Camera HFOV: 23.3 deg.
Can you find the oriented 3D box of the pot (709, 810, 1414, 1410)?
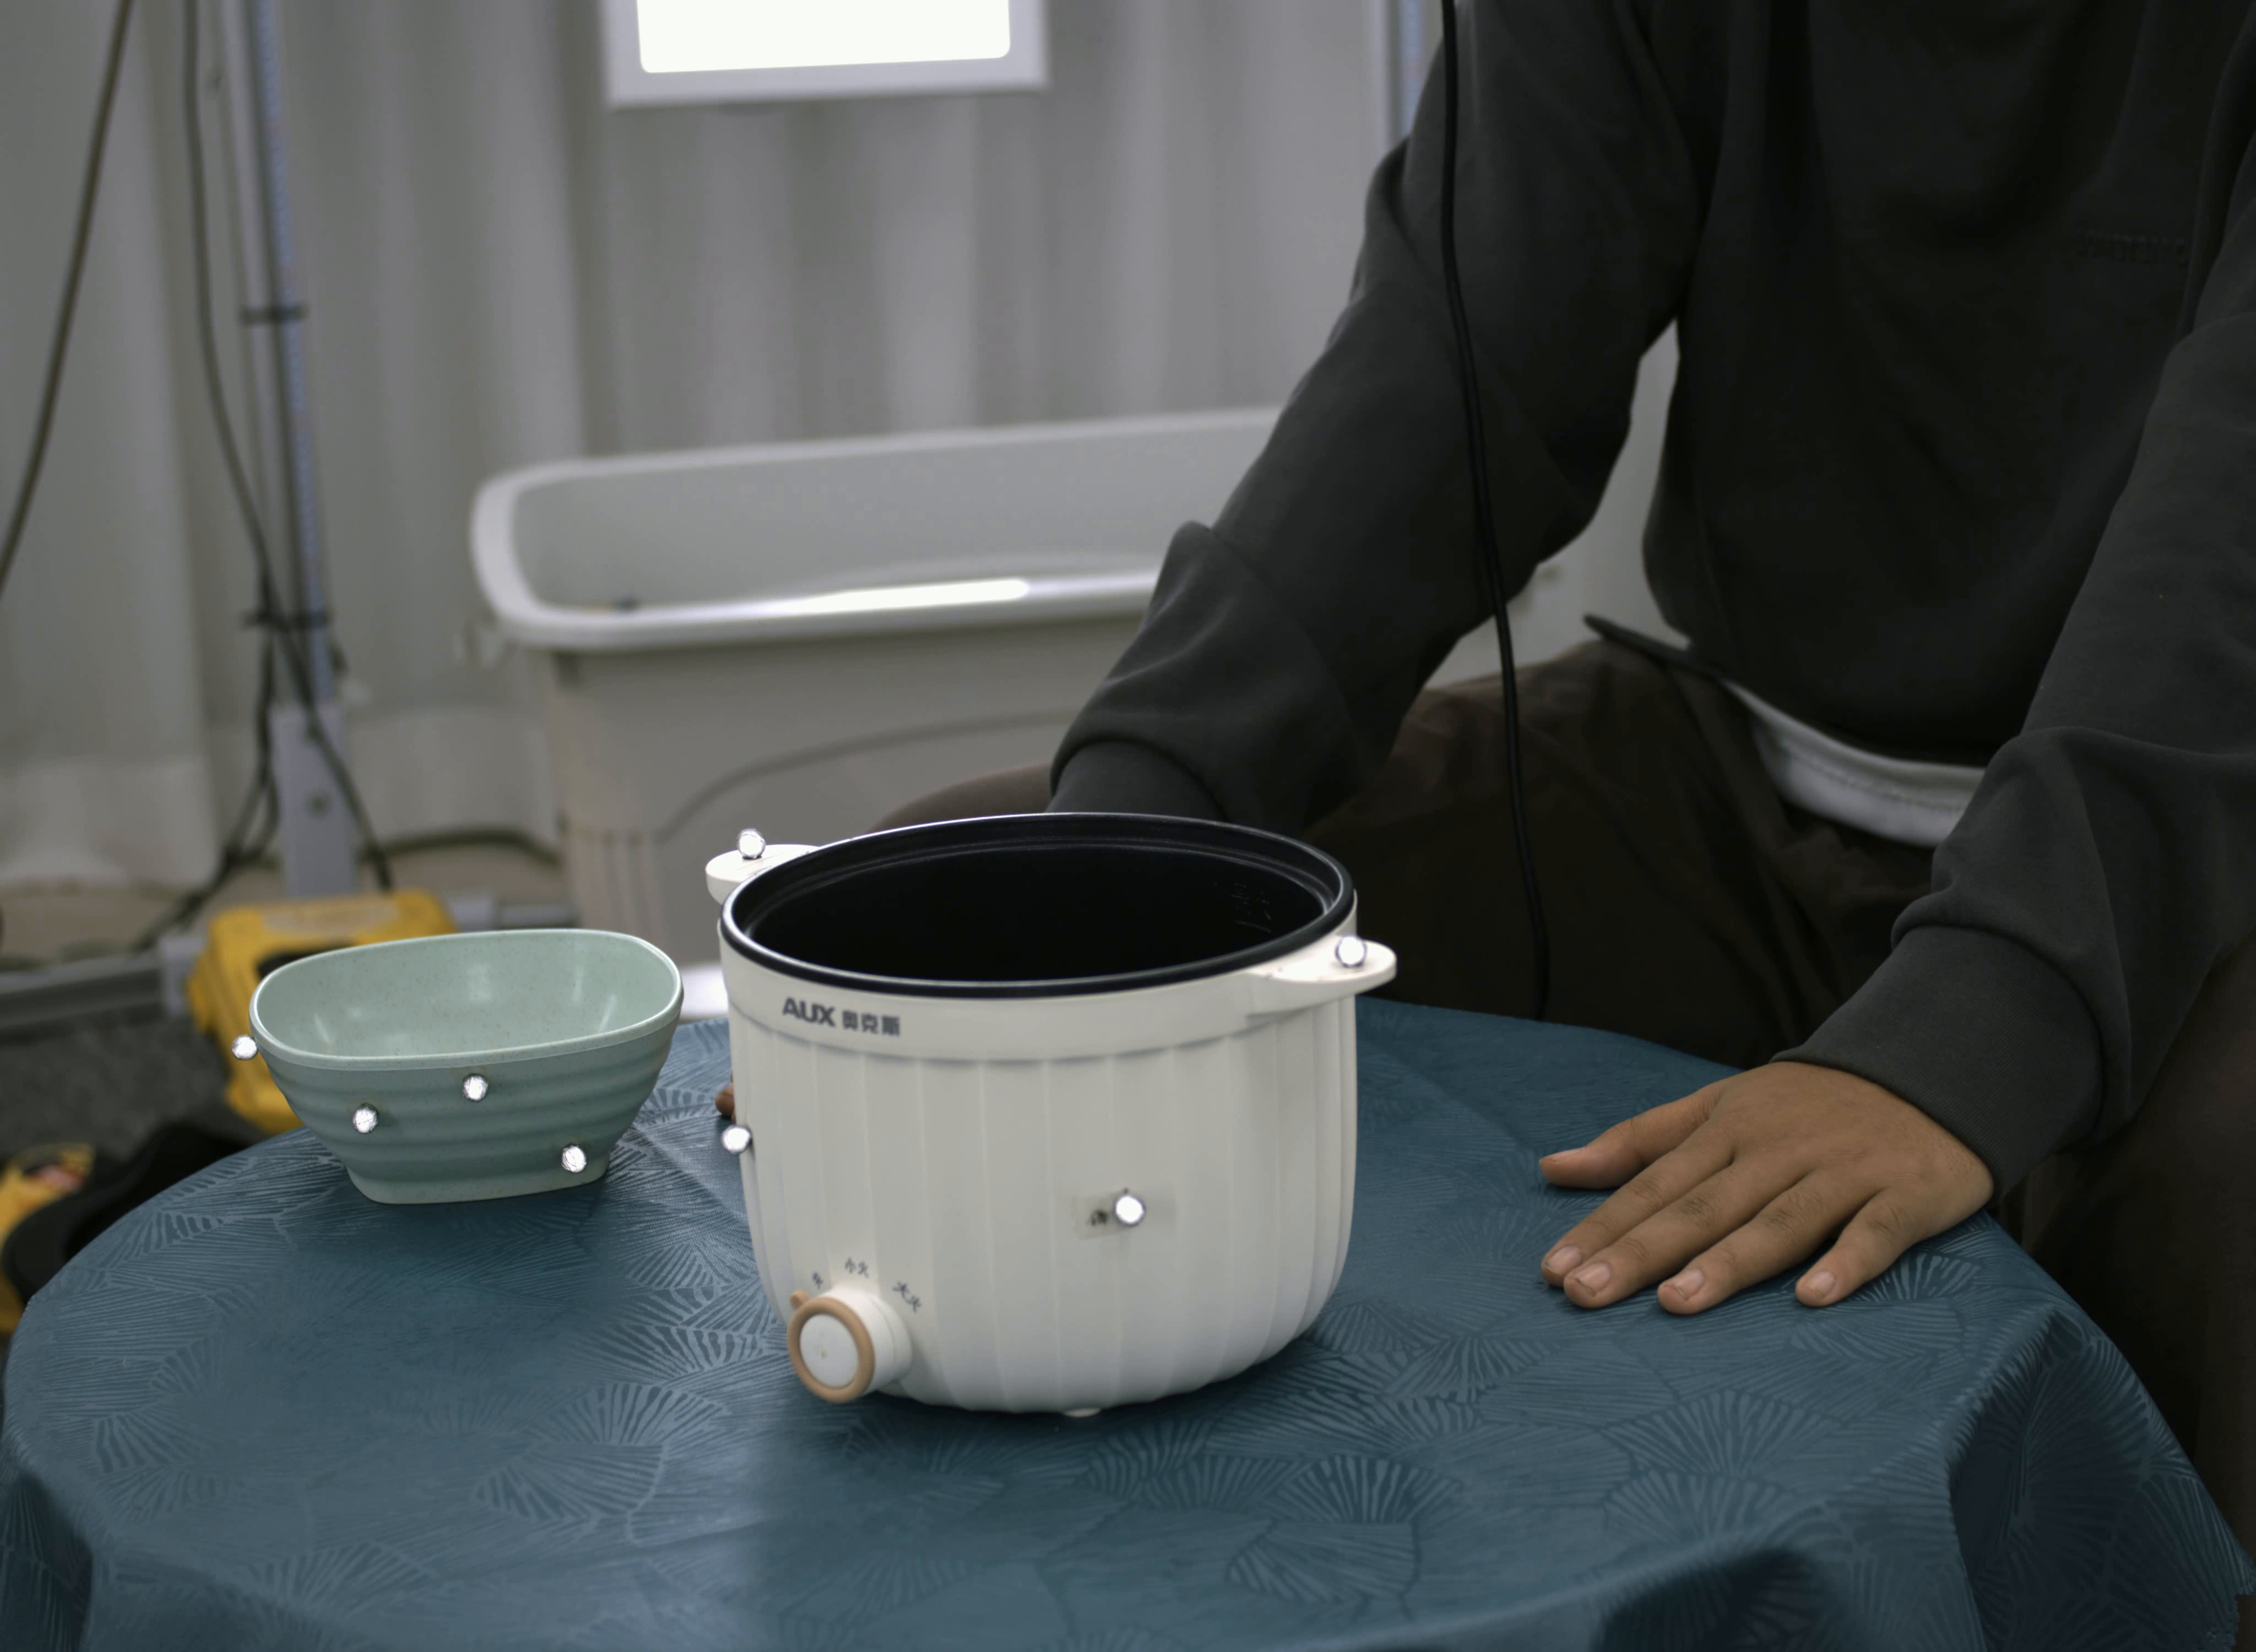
[{"bbox_3d":[-0.023,0.084,1.566,0.241,0.142,0.190,6,14,36],"label":"pot"}]

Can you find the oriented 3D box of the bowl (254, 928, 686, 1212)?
[{"bbox_3d":[-0.211,0.082,1.770,0.151,0.058,0.152,-2,16,0],"label":"bowl"}]
